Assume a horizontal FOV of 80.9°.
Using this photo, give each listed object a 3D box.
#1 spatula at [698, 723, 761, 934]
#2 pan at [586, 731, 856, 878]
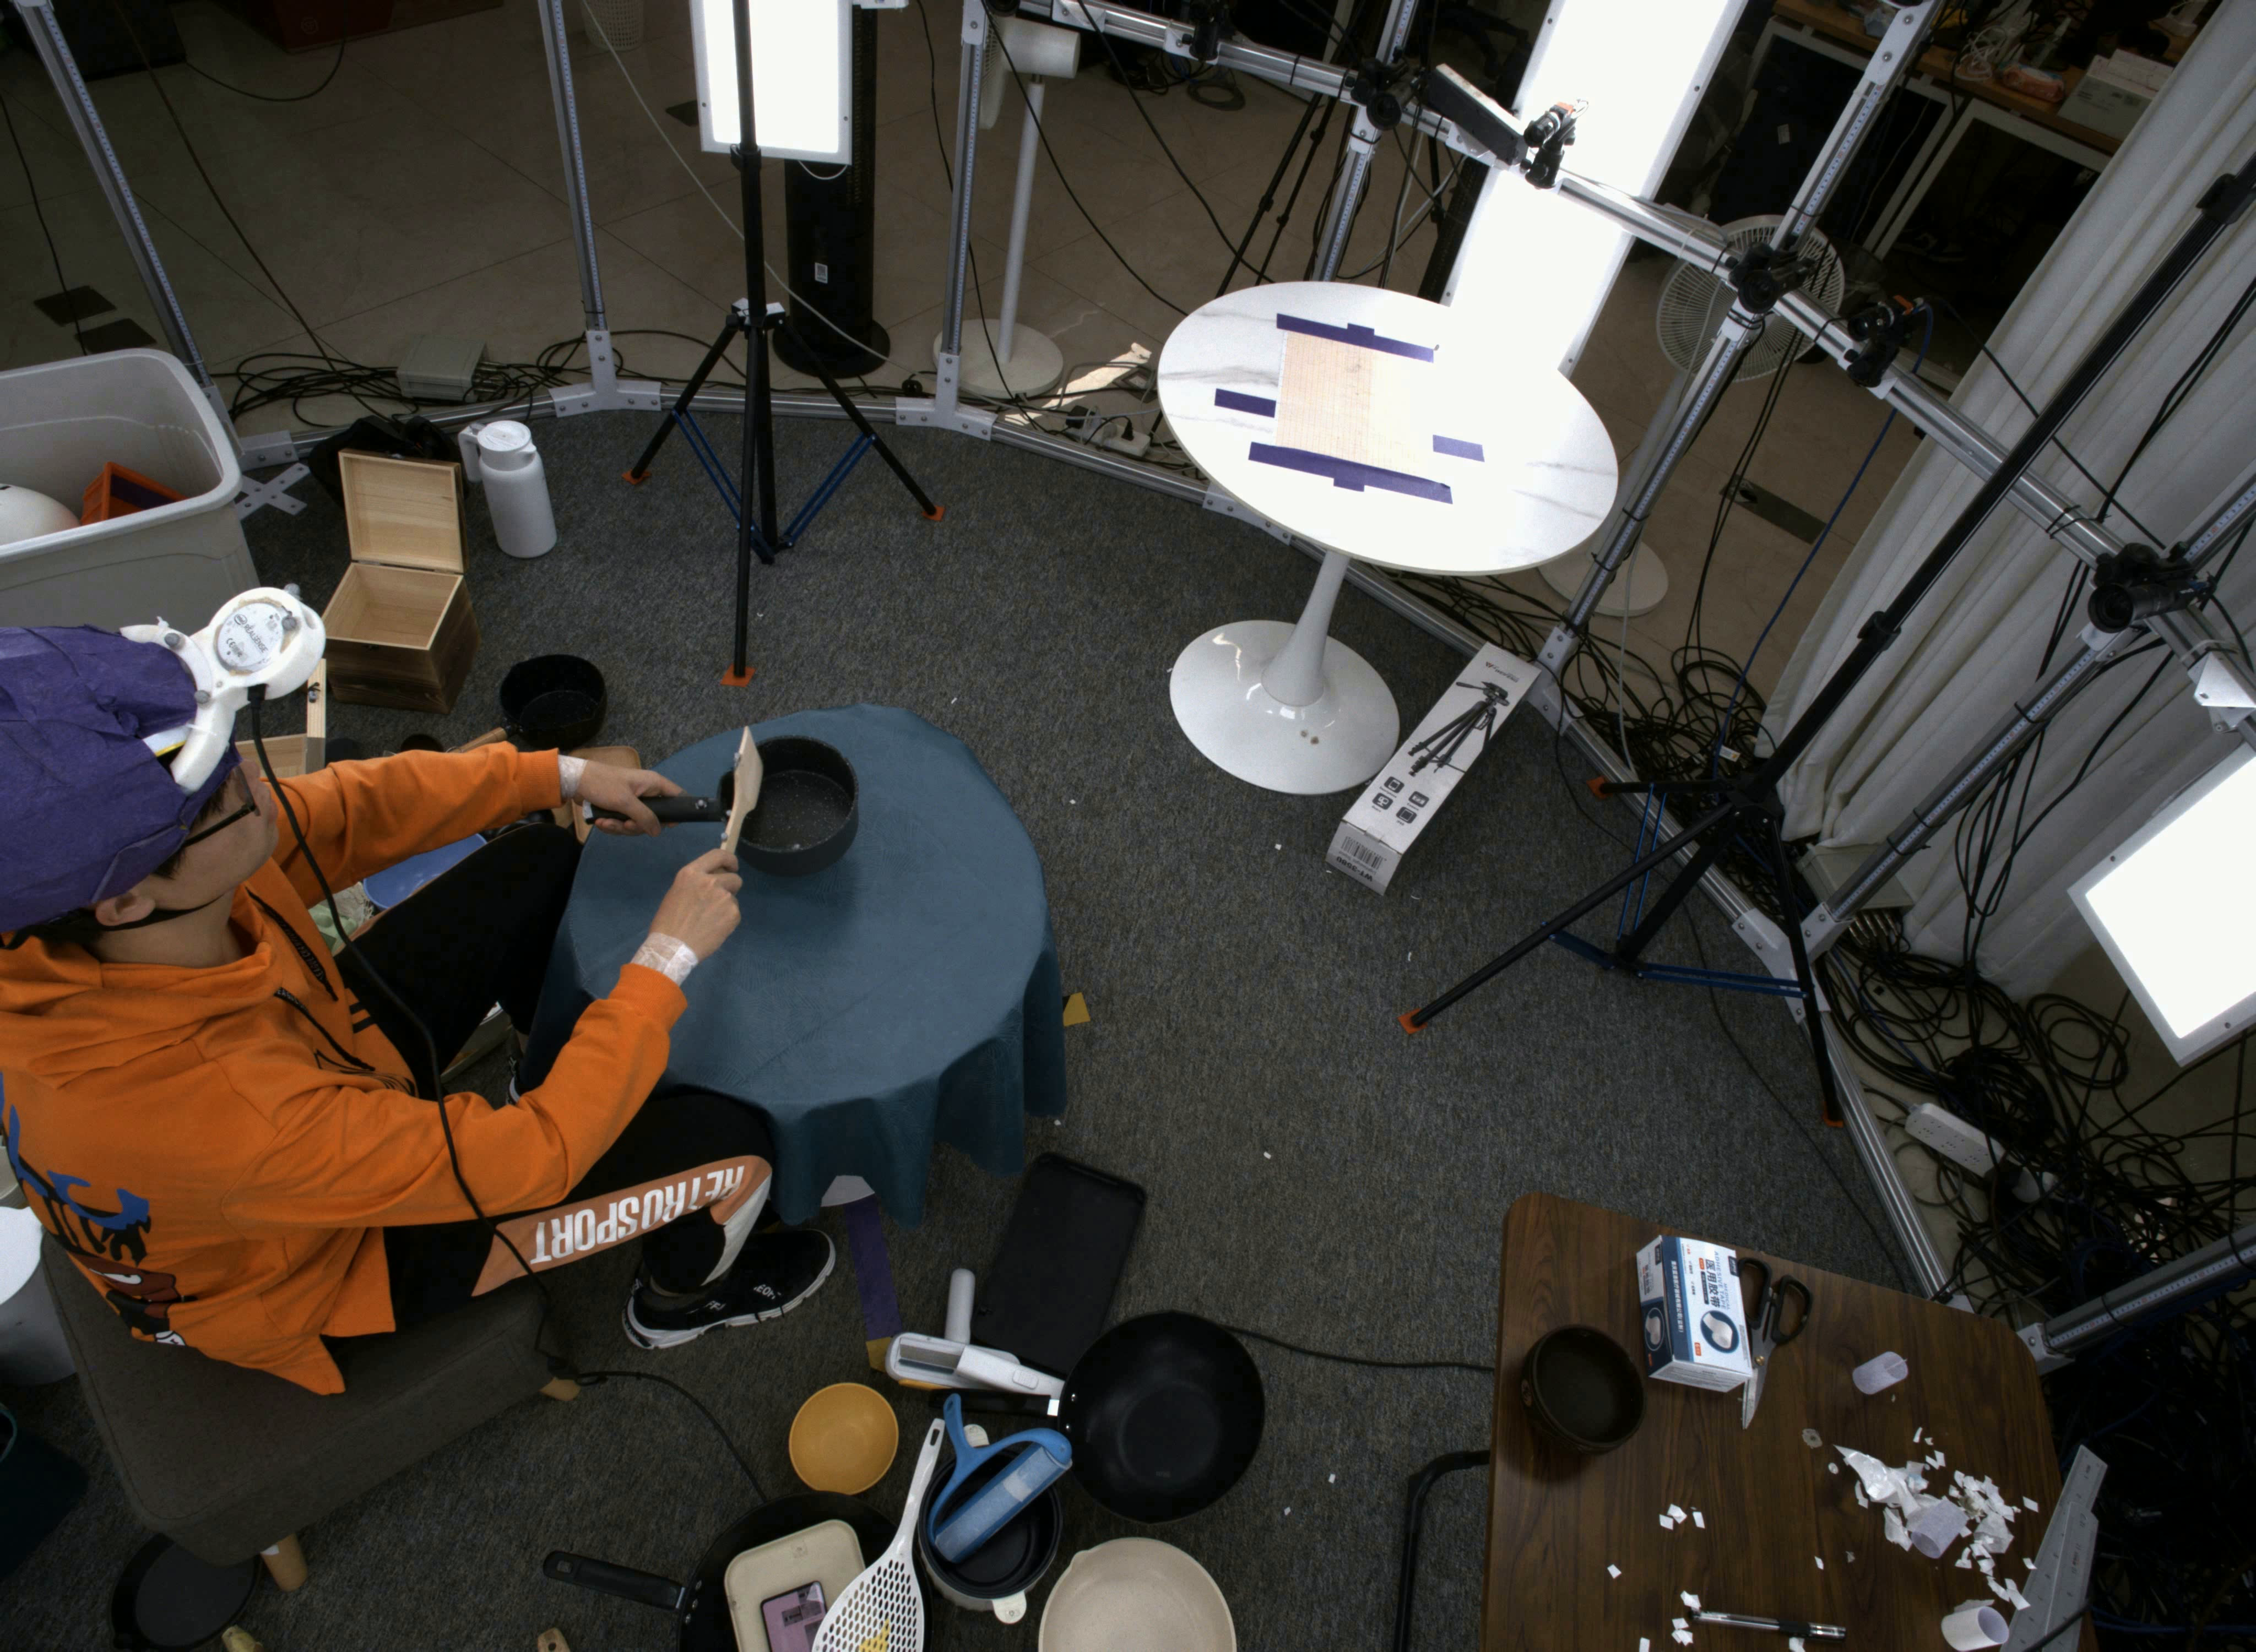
[{"bbox_3d":[-0.462,0.002,1.497,0.010,0.074,0.287,-1,49,2],"label":"spatula"},{"bbox_3d":[-0.498,-0.021,1.585,0.329,0.088,0.169,-3,59,-13],"label":"pan"}]
